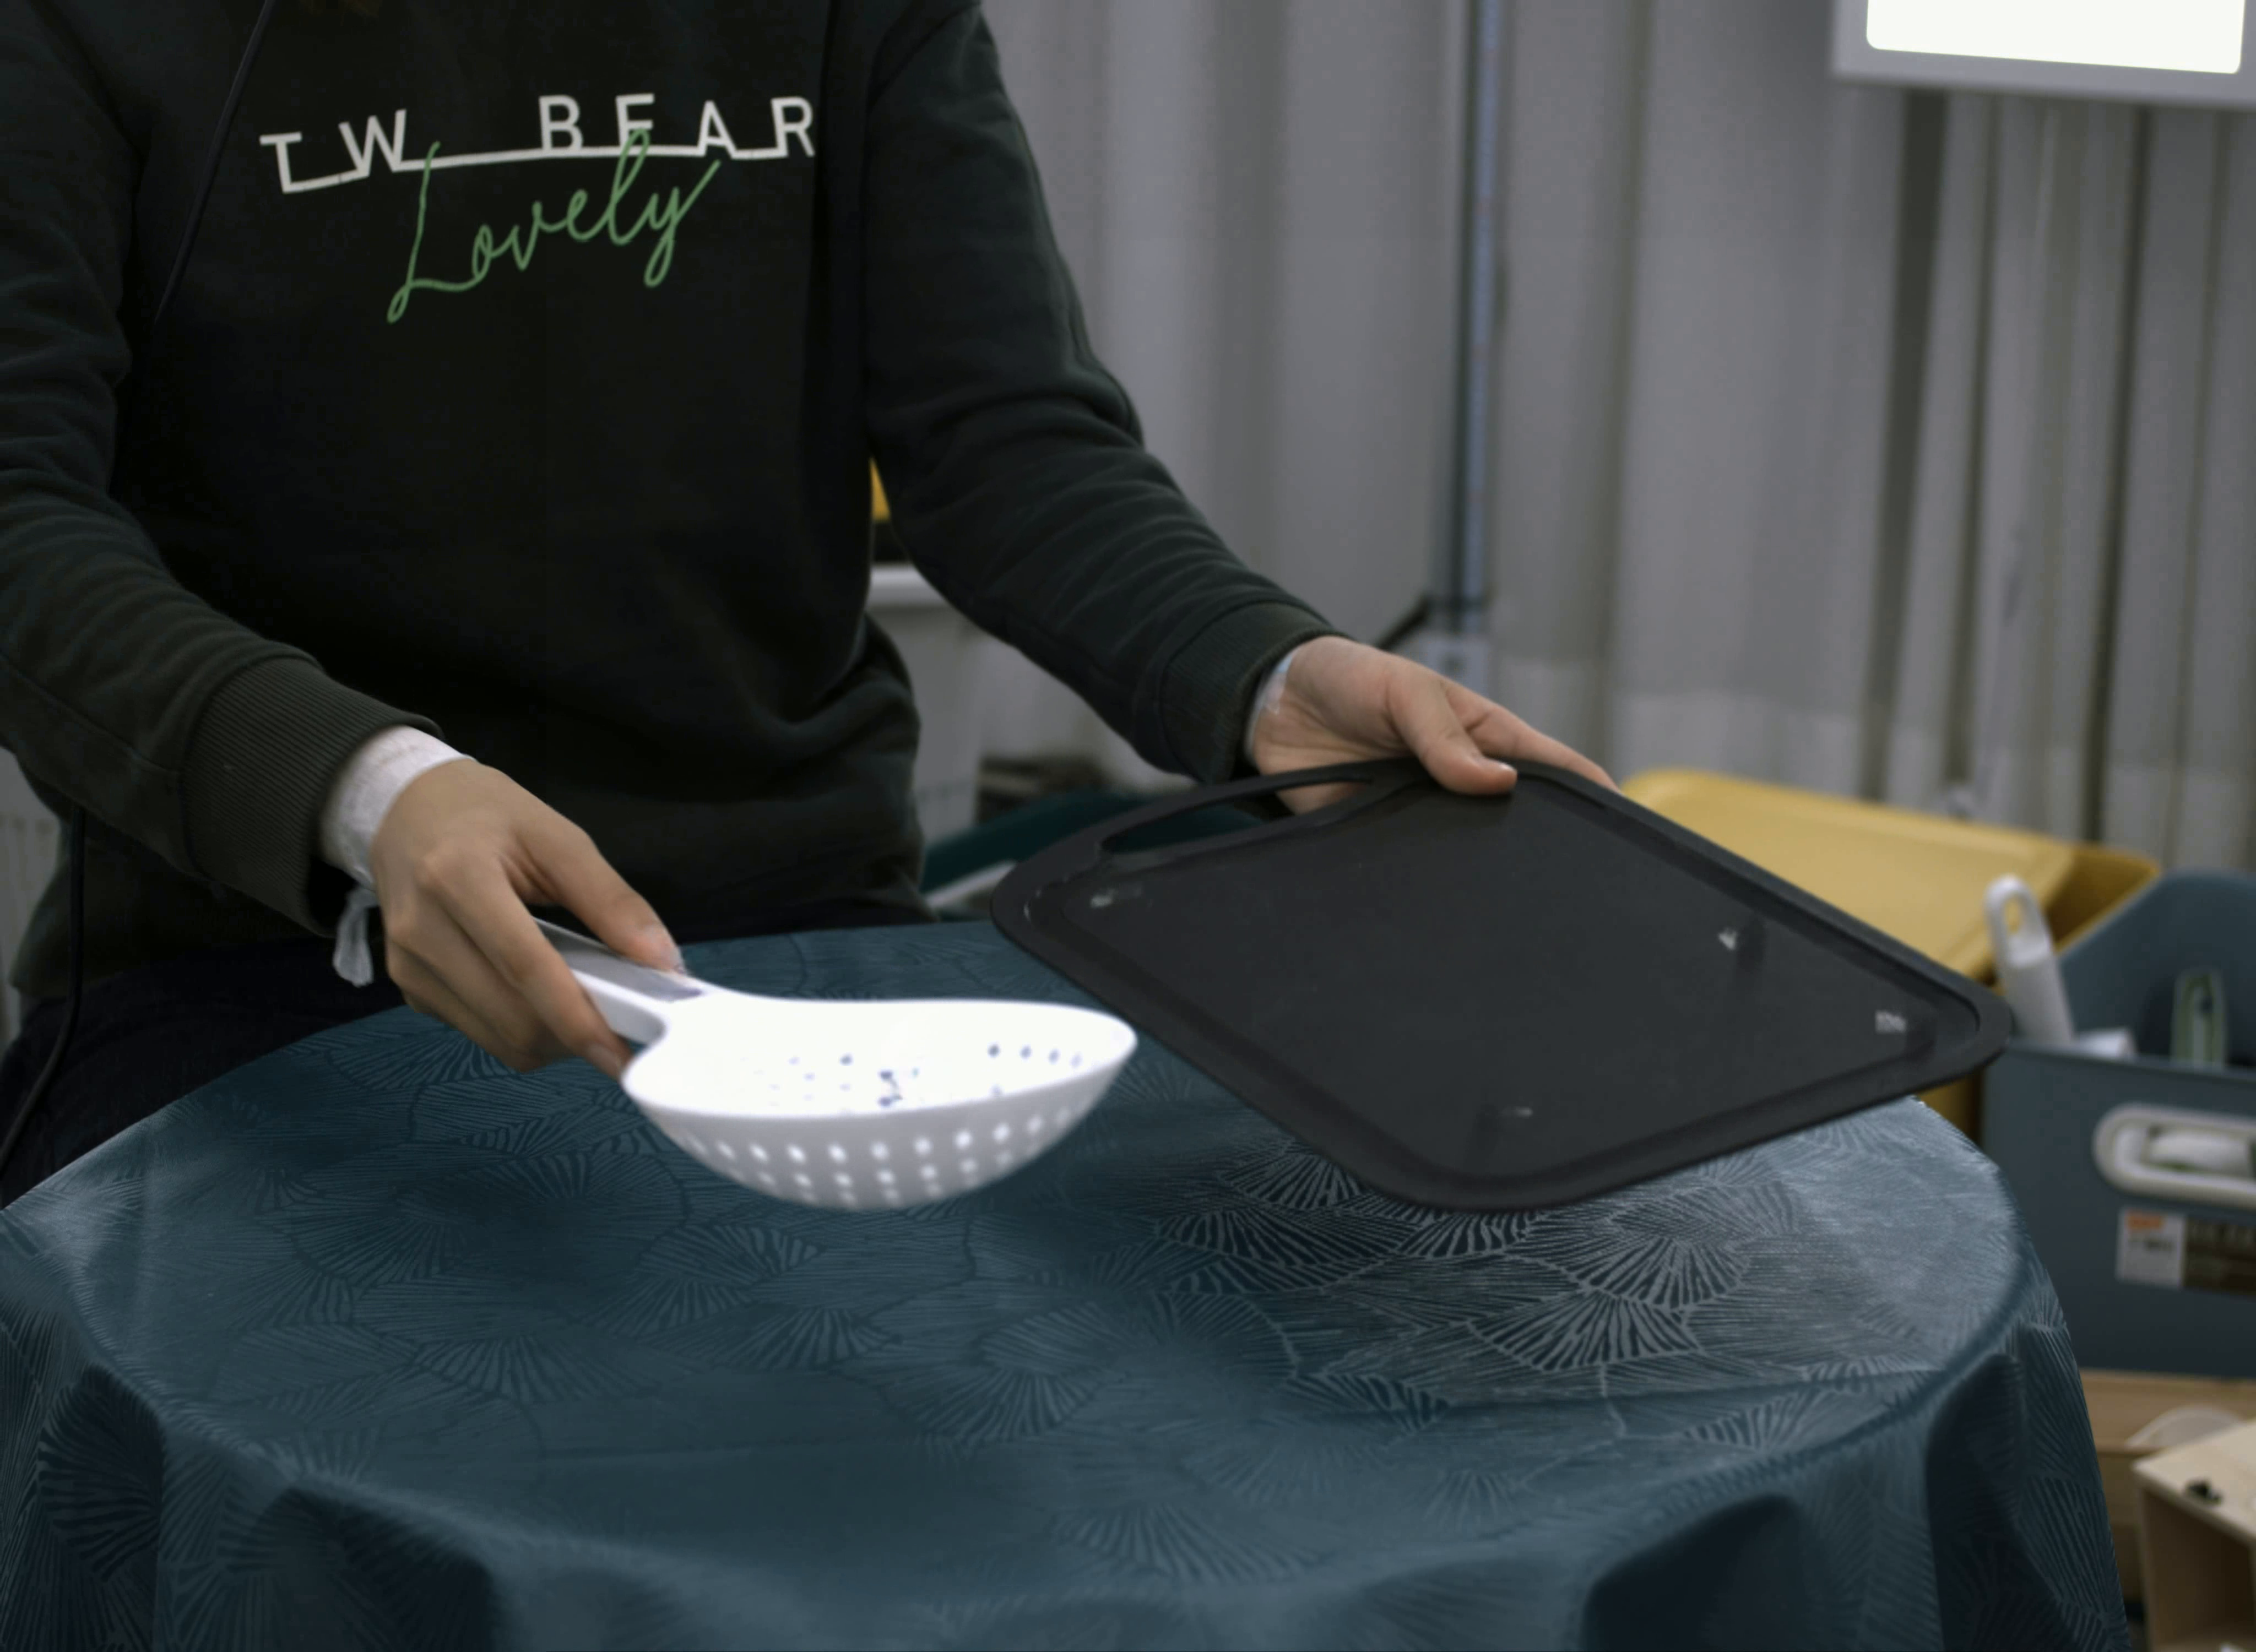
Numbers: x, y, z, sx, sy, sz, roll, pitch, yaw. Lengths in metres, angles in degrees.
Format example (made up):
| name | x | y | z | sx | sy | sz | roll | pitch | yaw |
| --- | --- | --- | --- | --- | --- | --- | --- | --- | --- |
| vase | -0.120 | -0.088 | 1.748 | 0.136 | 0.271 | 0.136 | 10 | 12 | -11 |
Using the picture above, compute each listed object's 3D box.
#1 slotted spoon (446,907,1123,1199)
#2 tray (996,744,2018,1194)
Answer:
| name | x | y | z | sx | sy | sz | roll | pitch | yaw |
| --- | --- | --- | --- | --- | --- | --- | --- | --- | --- |
| slotted spoon | -0.119 | 0.053 | 1.481 | 0.136 | 0.046 | 0.345 | -8 | 15 | -28 |
| tray | 0.102 | 0.033 | 1.576 | 0.211 | 0.010 | 0.321 | -15 | 25 | -25 |
